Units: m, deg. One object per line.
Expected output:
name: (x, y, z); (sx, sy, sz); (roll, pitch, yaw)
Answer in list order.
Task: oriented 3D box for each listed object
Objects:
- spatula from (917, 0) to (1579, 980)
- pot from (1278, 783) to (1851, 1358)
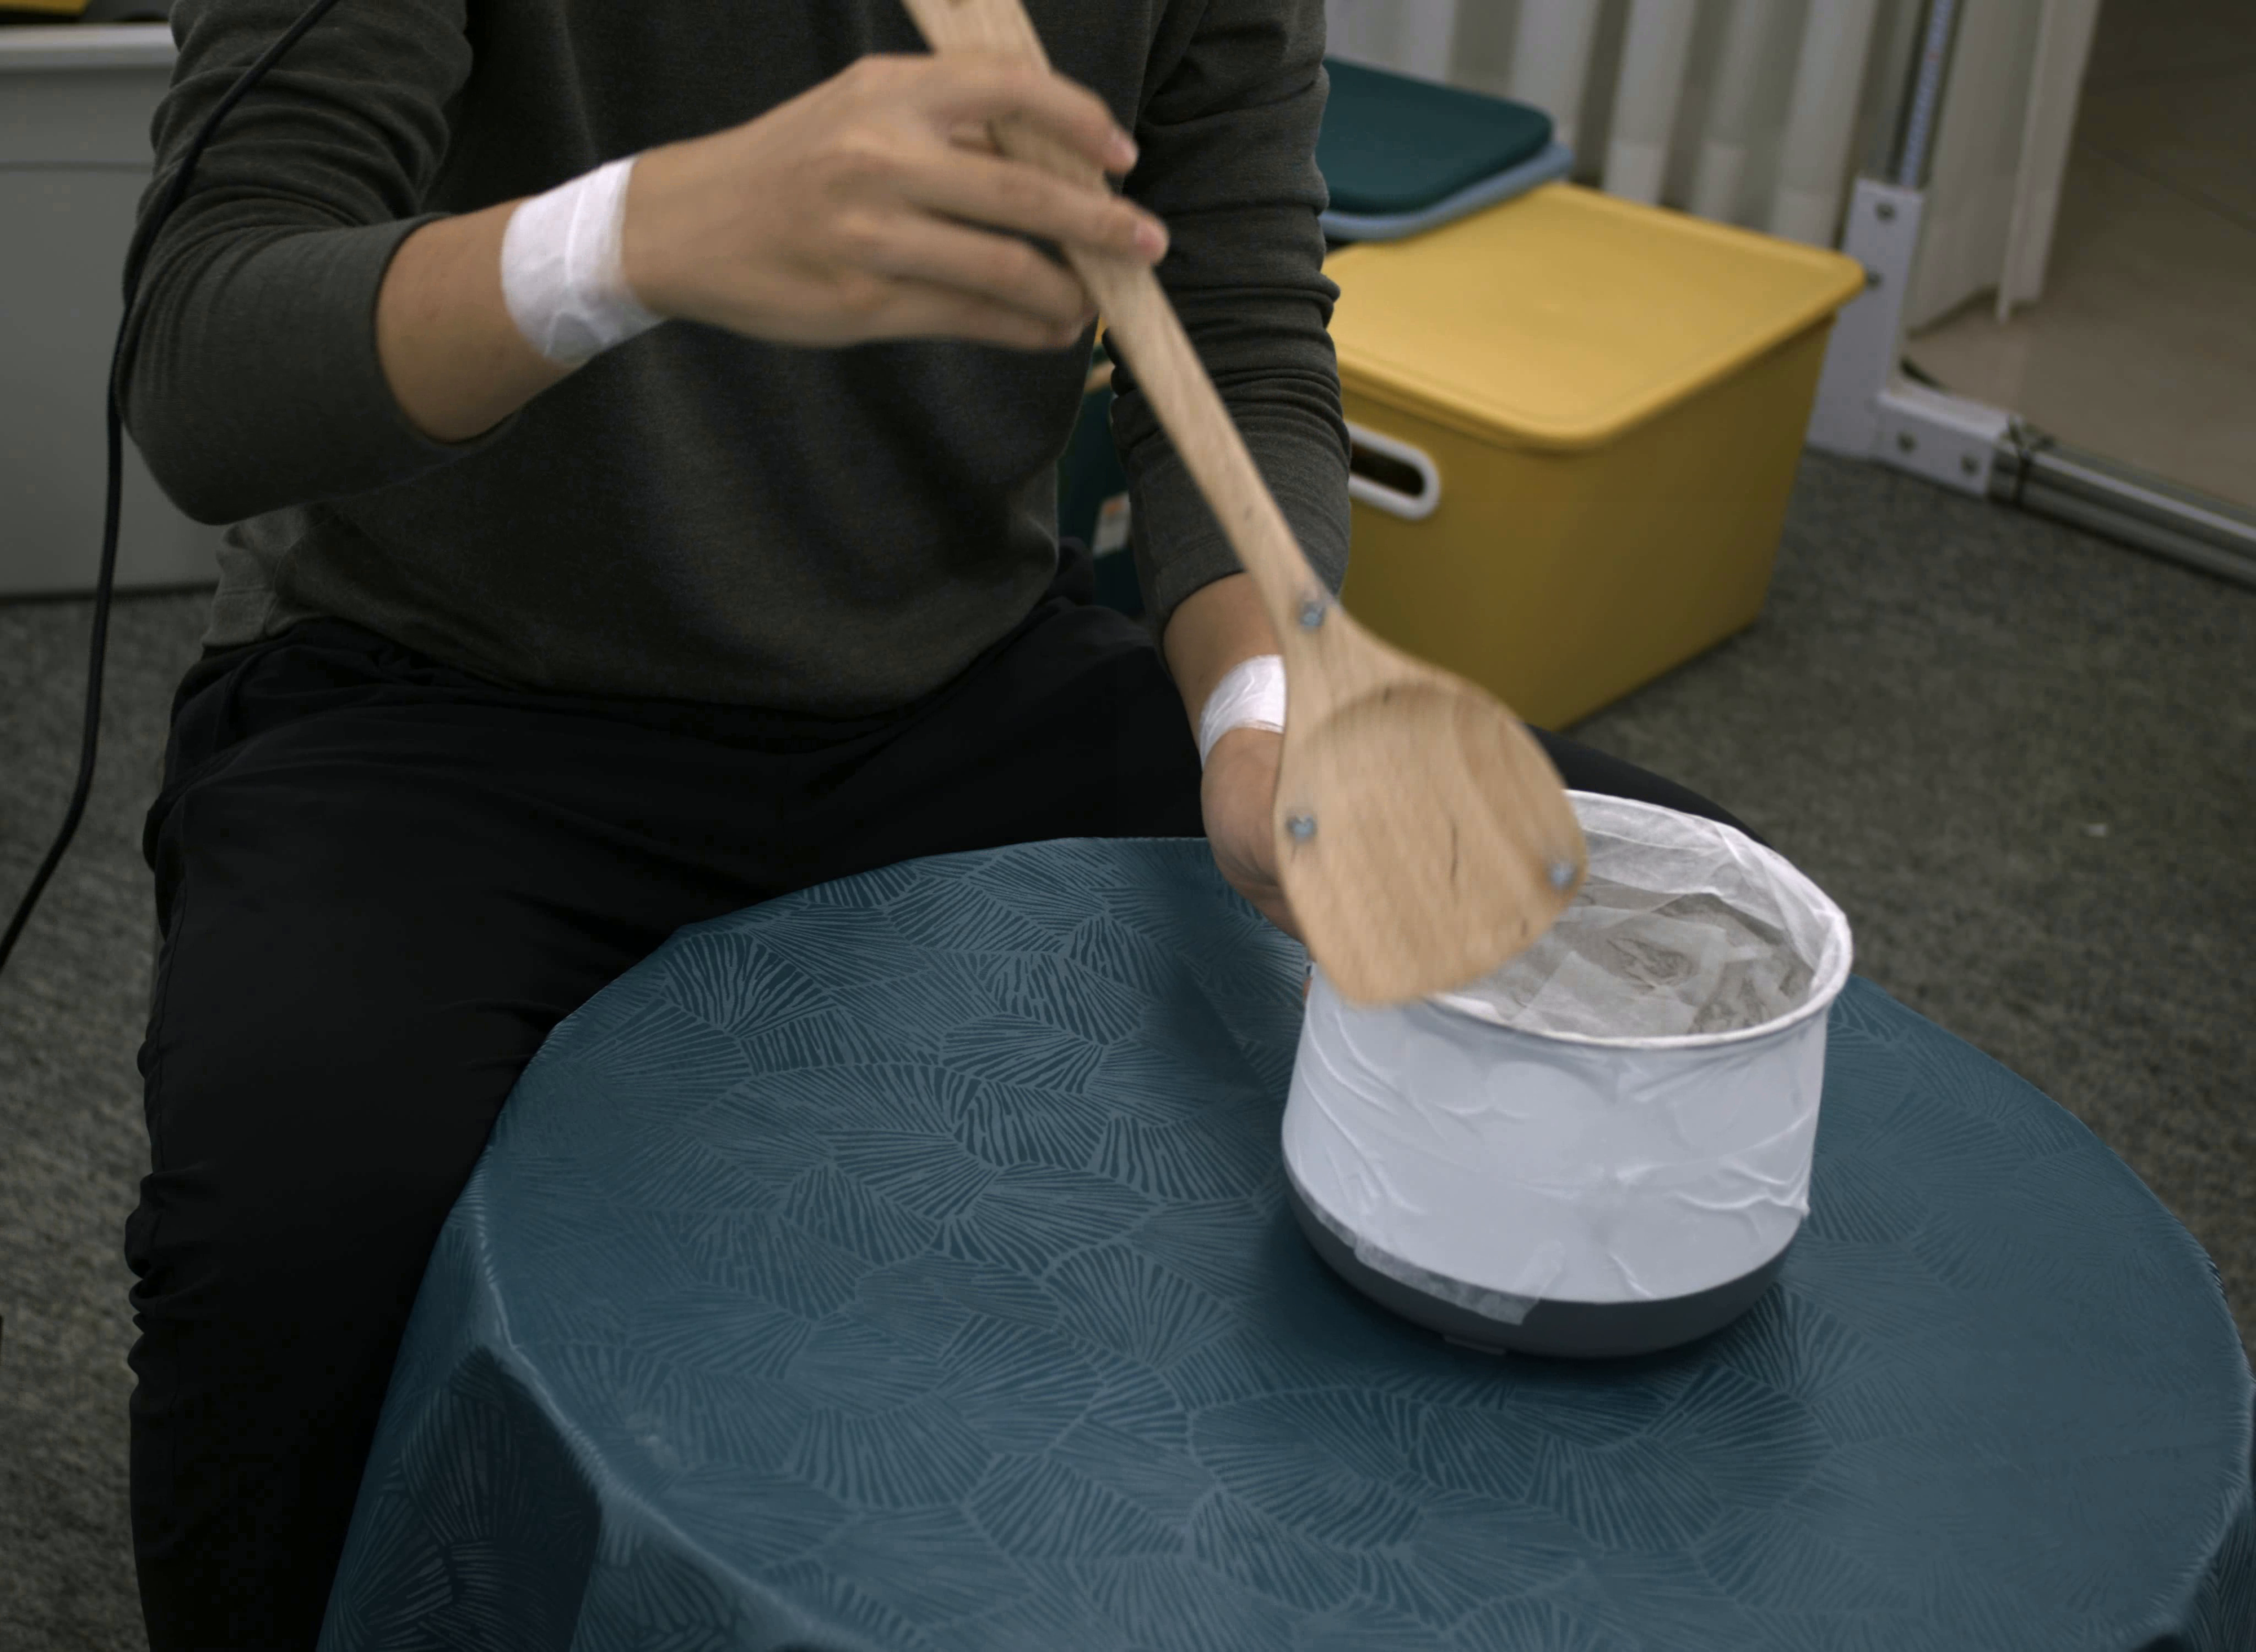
spatula: (0.015, -0.131, 1.626); (0.095, 0.390, 0.018); (-30, 11, -1)
pot: (0.129, 0.070, 1.789); (0.177, 0.136, 0.236); (-8, 30, -27)
